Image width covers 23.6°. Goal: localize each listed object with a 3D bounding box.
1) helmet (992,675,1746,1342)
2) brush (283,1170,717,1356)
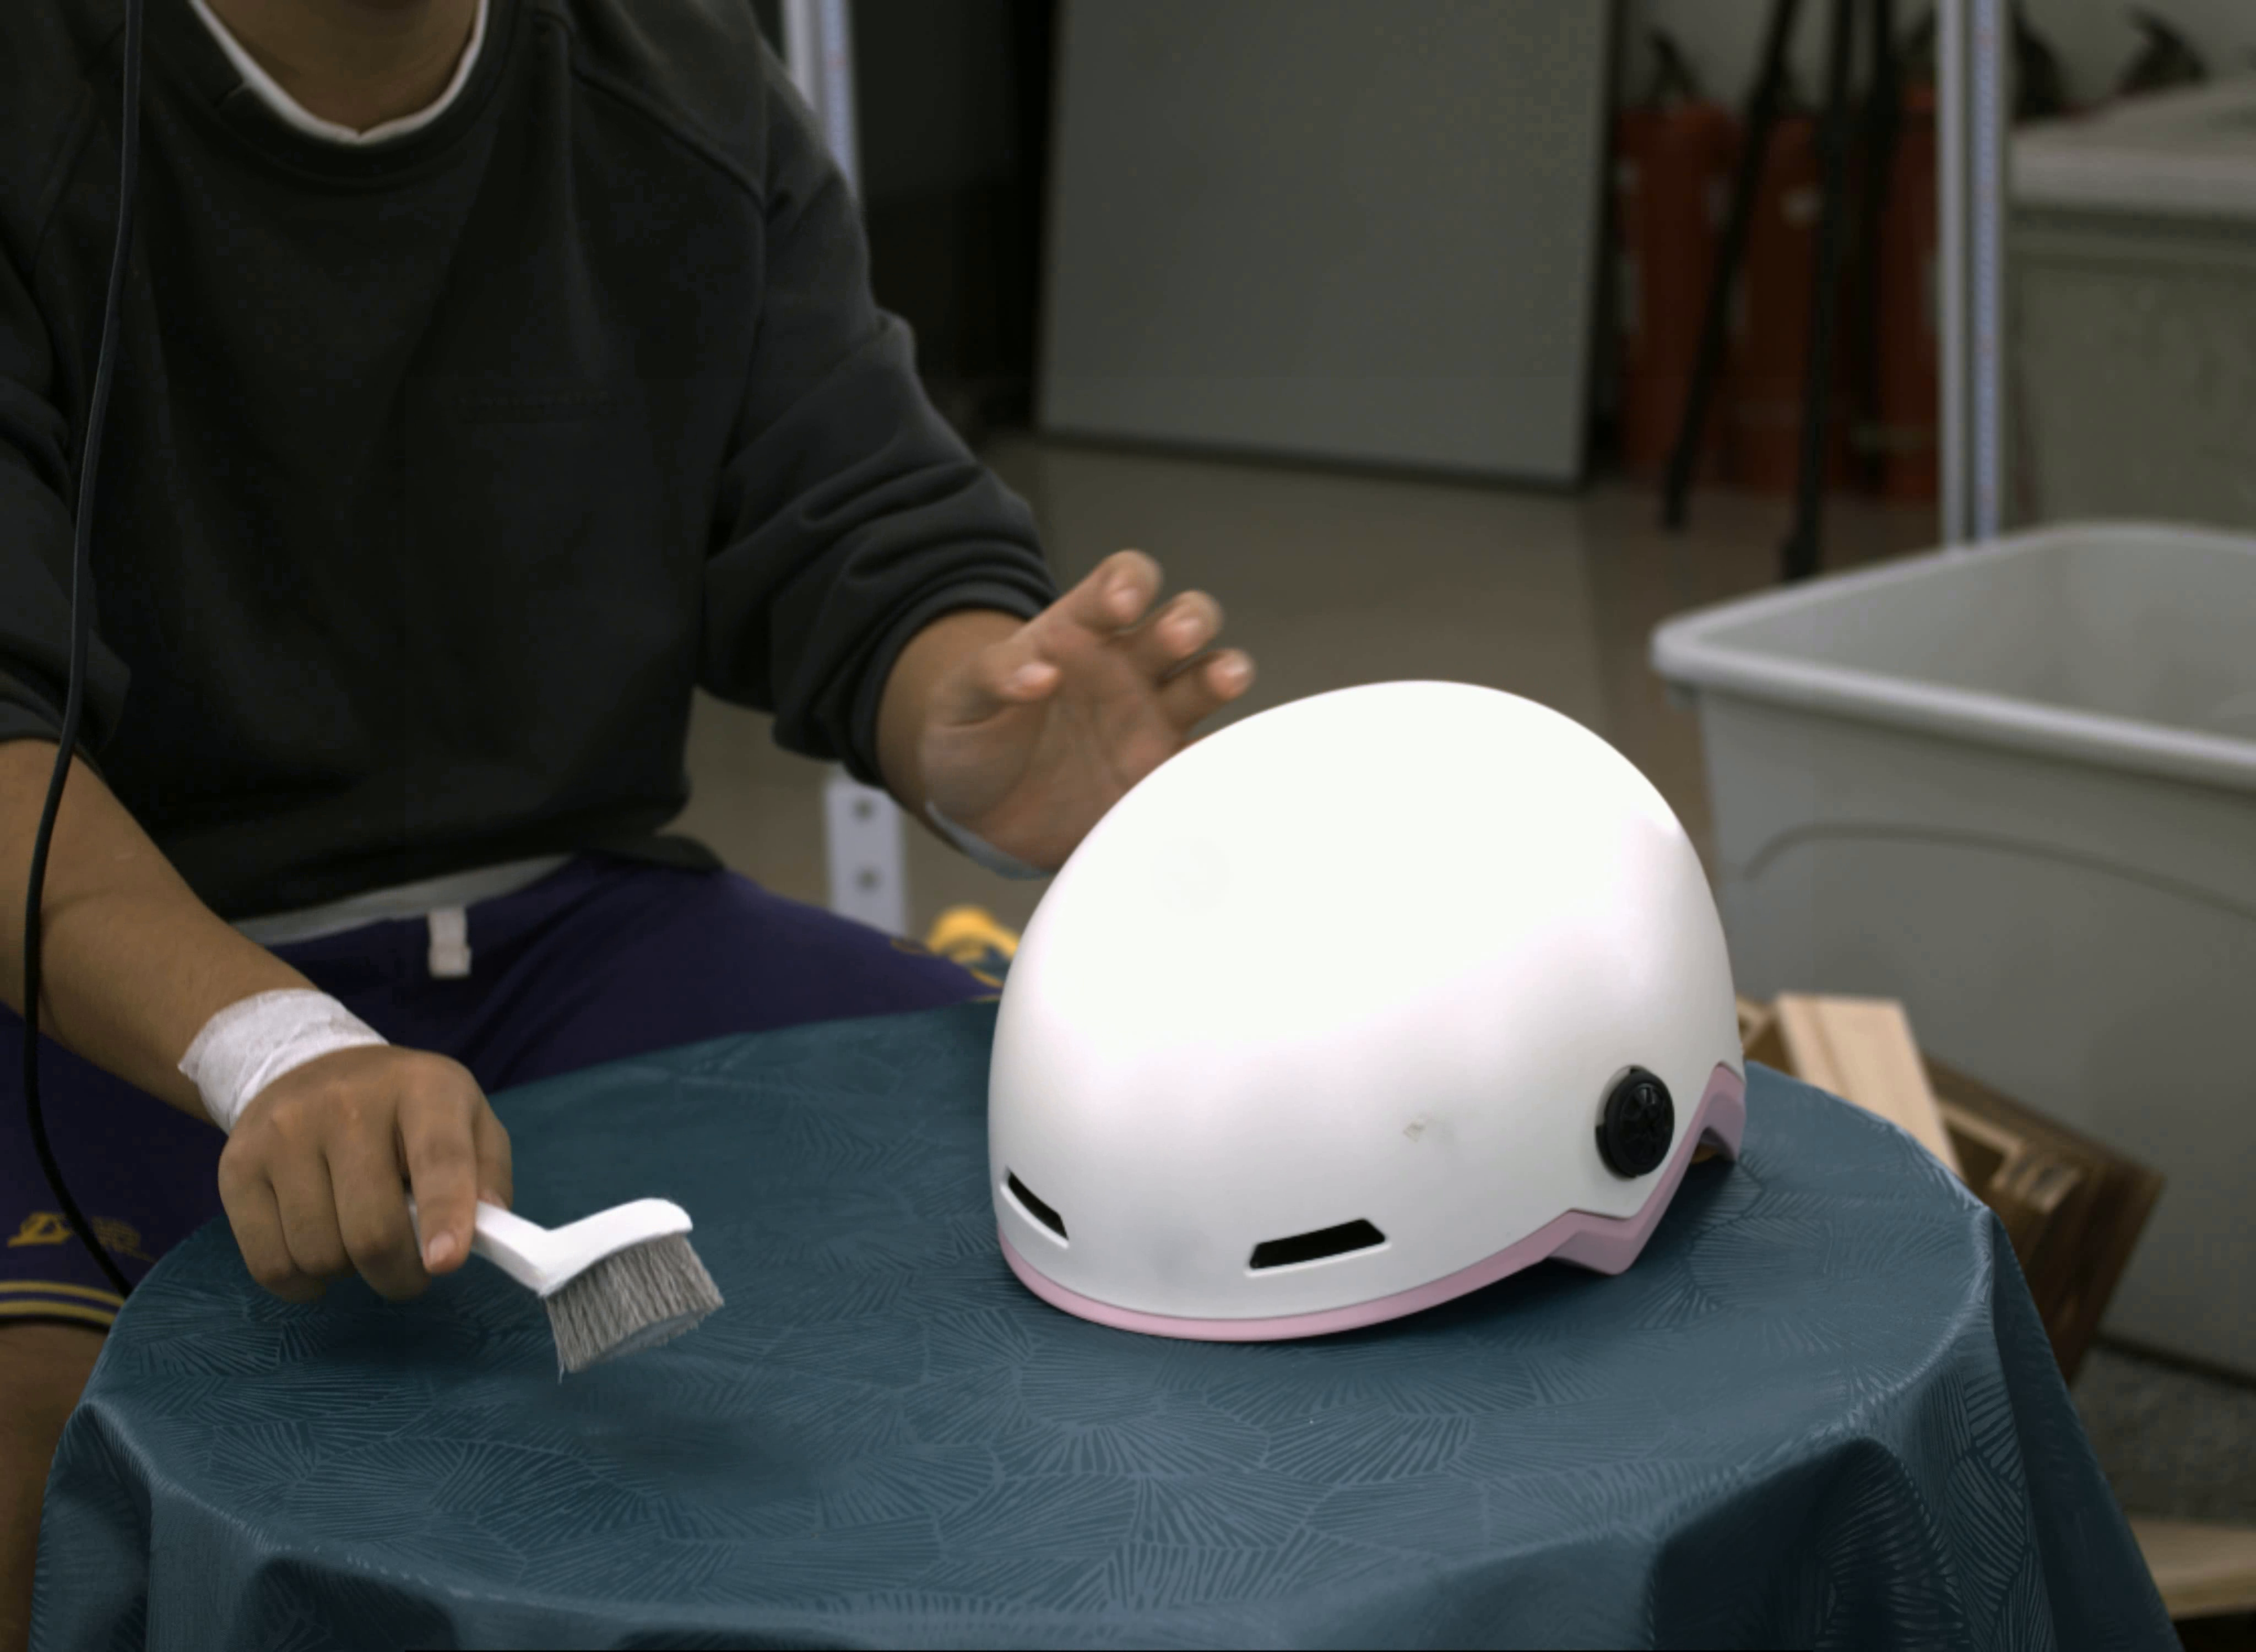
[{"bbox_3d":[0.075,0.045,1.714,0.238,0.169,0.264,6,17,35],"label":"helmet"},{"bbox_3d":[-0.191,0.131,1.617,0.033,0.051,0.246,-15,4,-32],"label":"brush"}]
